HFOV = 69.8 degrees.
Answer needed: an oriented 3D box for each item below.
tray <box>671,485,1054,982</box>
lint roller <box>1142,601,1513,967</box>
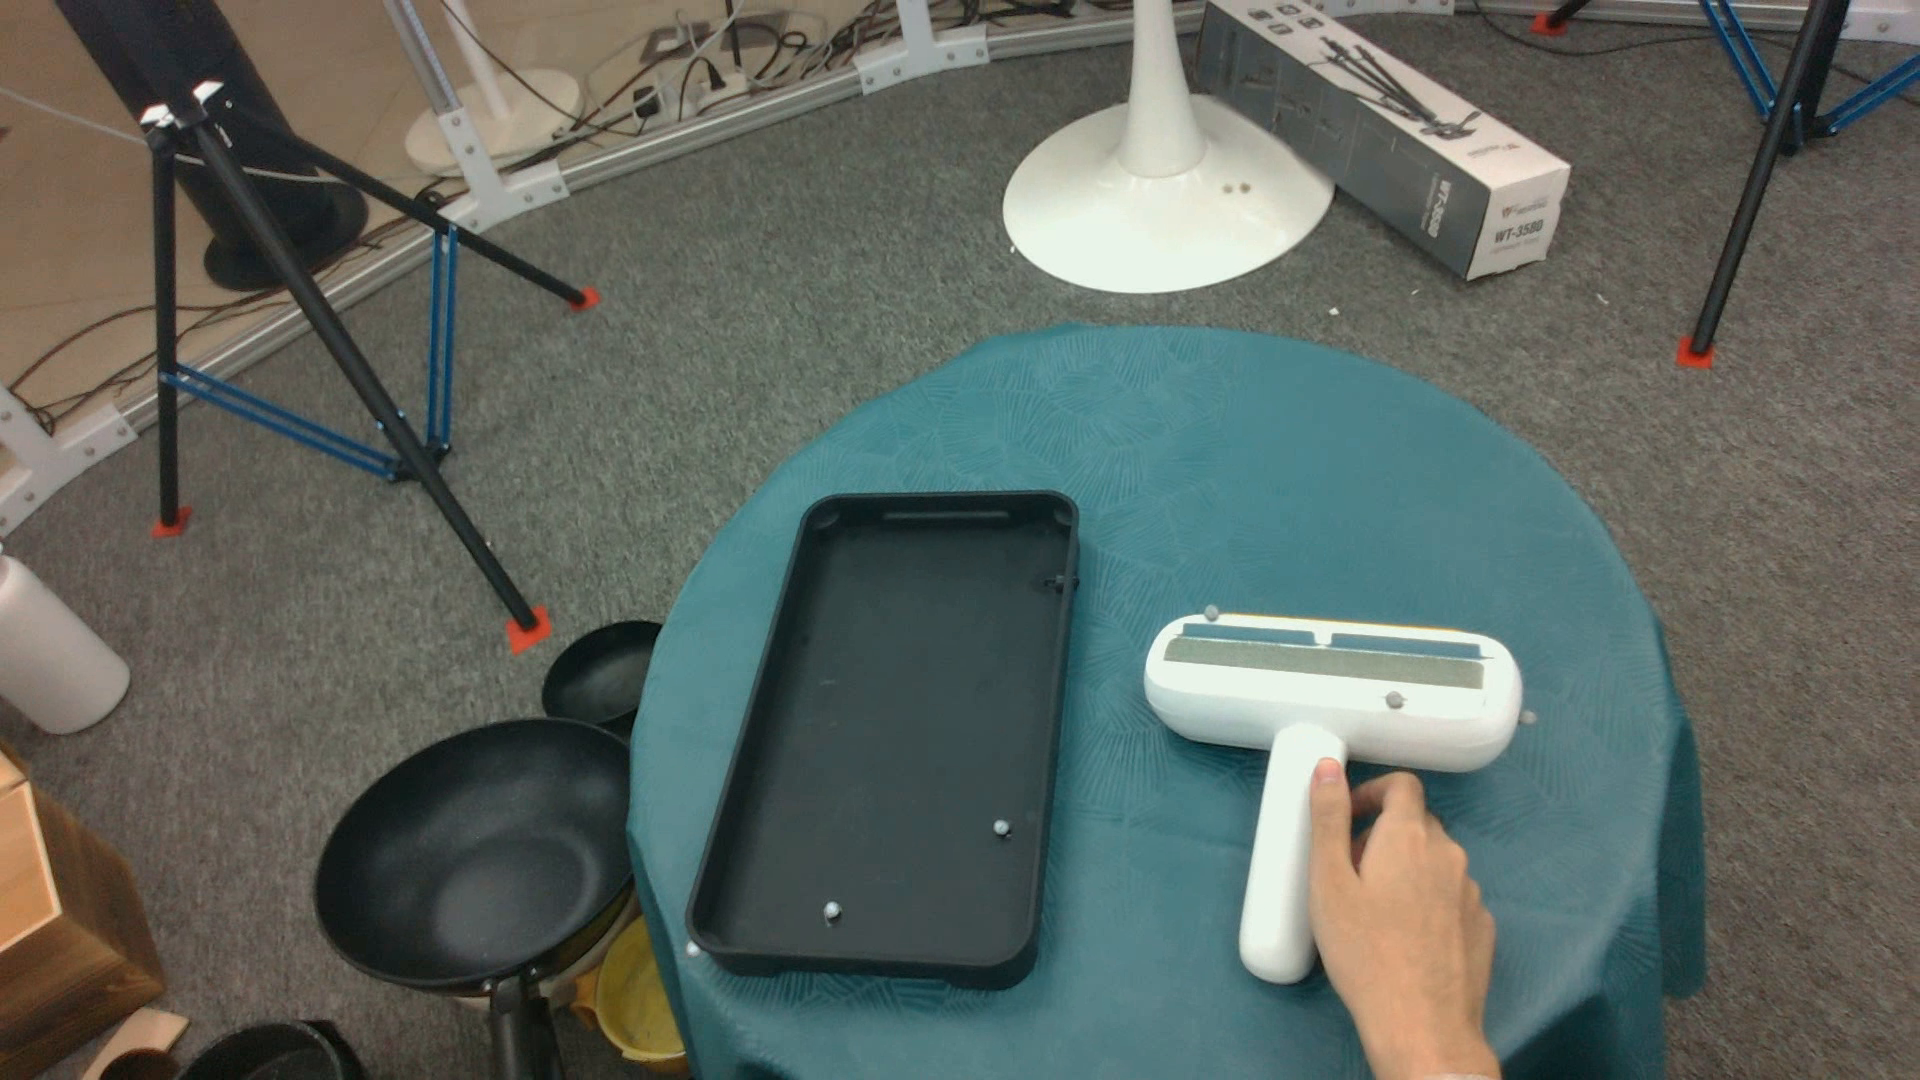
[{"bbox_3d":[-0.043,0.096,0.793,0.184,0.037,0.319,-2,48,10],"label":"tray"},{"bbox_3d":[0.170,0.121,0.705,0.192,0.074,0.193,9,52,27],"label":"lint roller"}]
